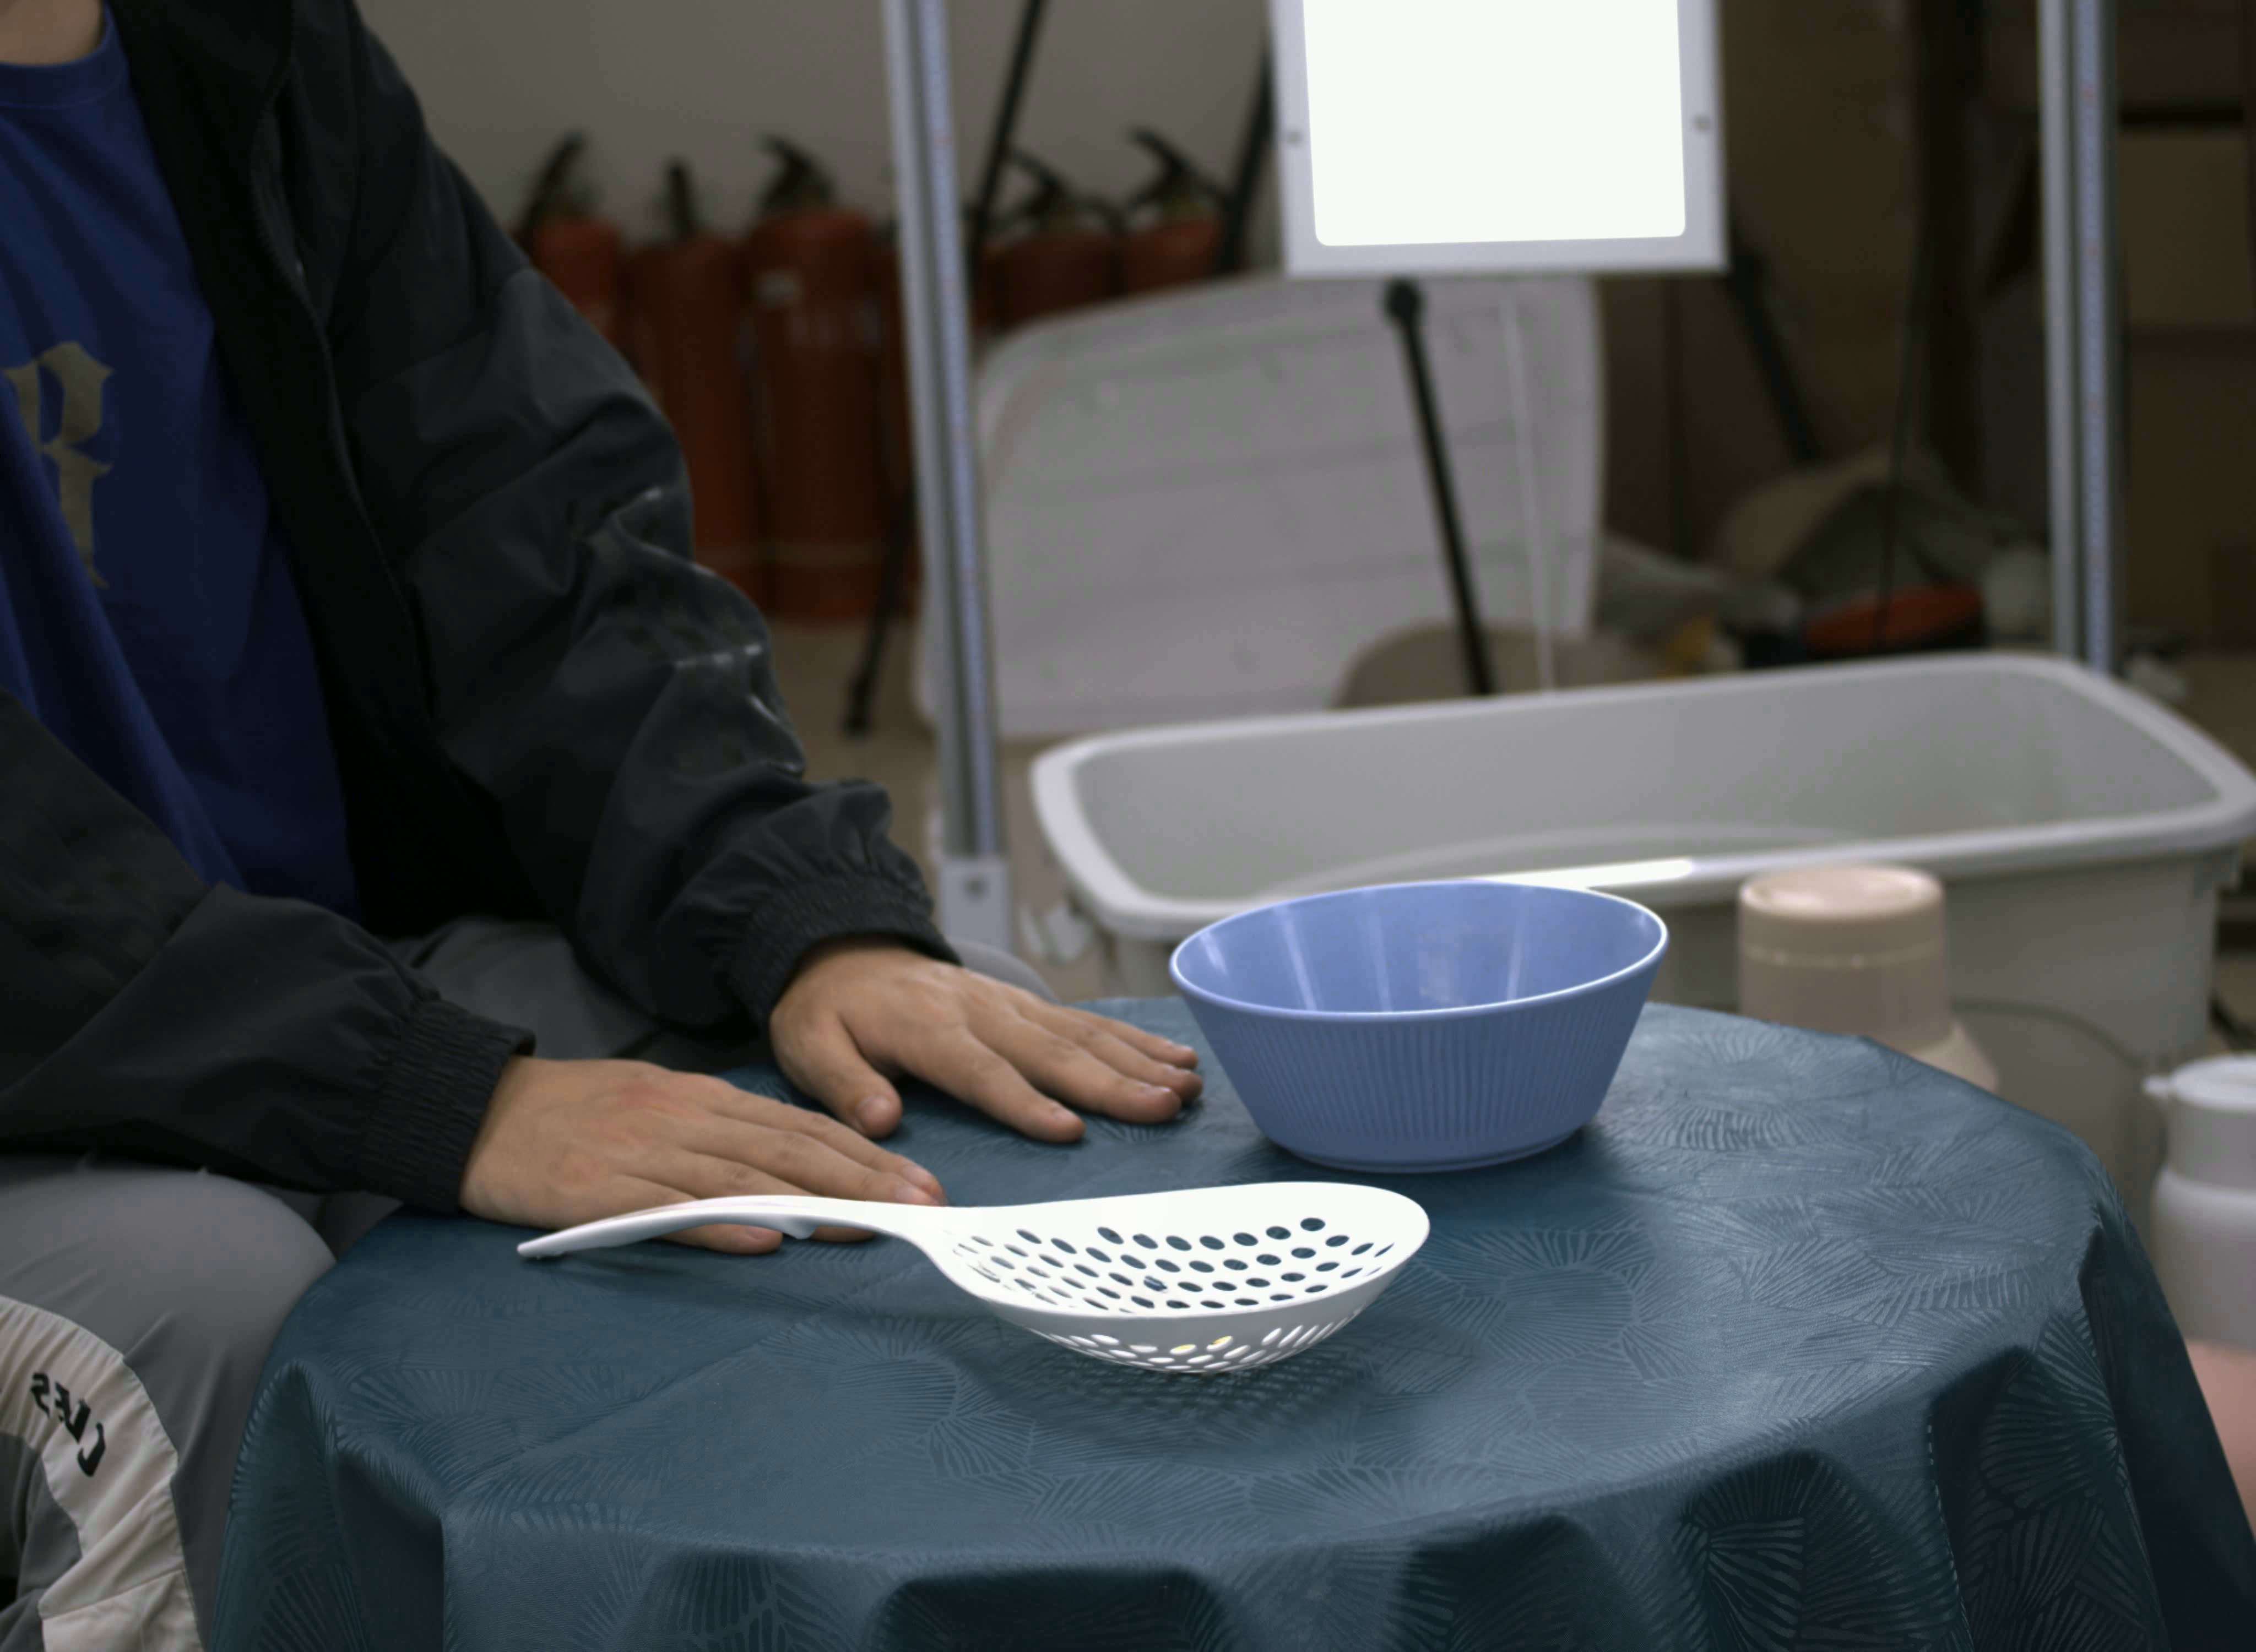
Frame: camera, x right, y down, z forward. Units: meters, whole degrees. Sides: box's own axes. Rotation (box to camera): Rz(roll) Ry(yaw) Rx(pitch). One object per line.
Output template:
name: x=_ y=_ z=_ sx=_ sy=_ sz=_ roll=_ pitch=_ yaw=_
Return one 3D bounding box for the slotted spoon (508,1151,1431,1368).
slotted spoon: x=-0.062 y=0.138 z=1.781 sx=0.355 sy=0.050 sz=0.133 roll=4 pitch=20 yaw=35

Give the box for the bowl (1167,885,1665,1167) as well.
bowl: x=0.103 y=0.072 z=1.931 sx=0.175 sy=0.070 sz=0.176 roll=-5 pitch=13 yaw=0
